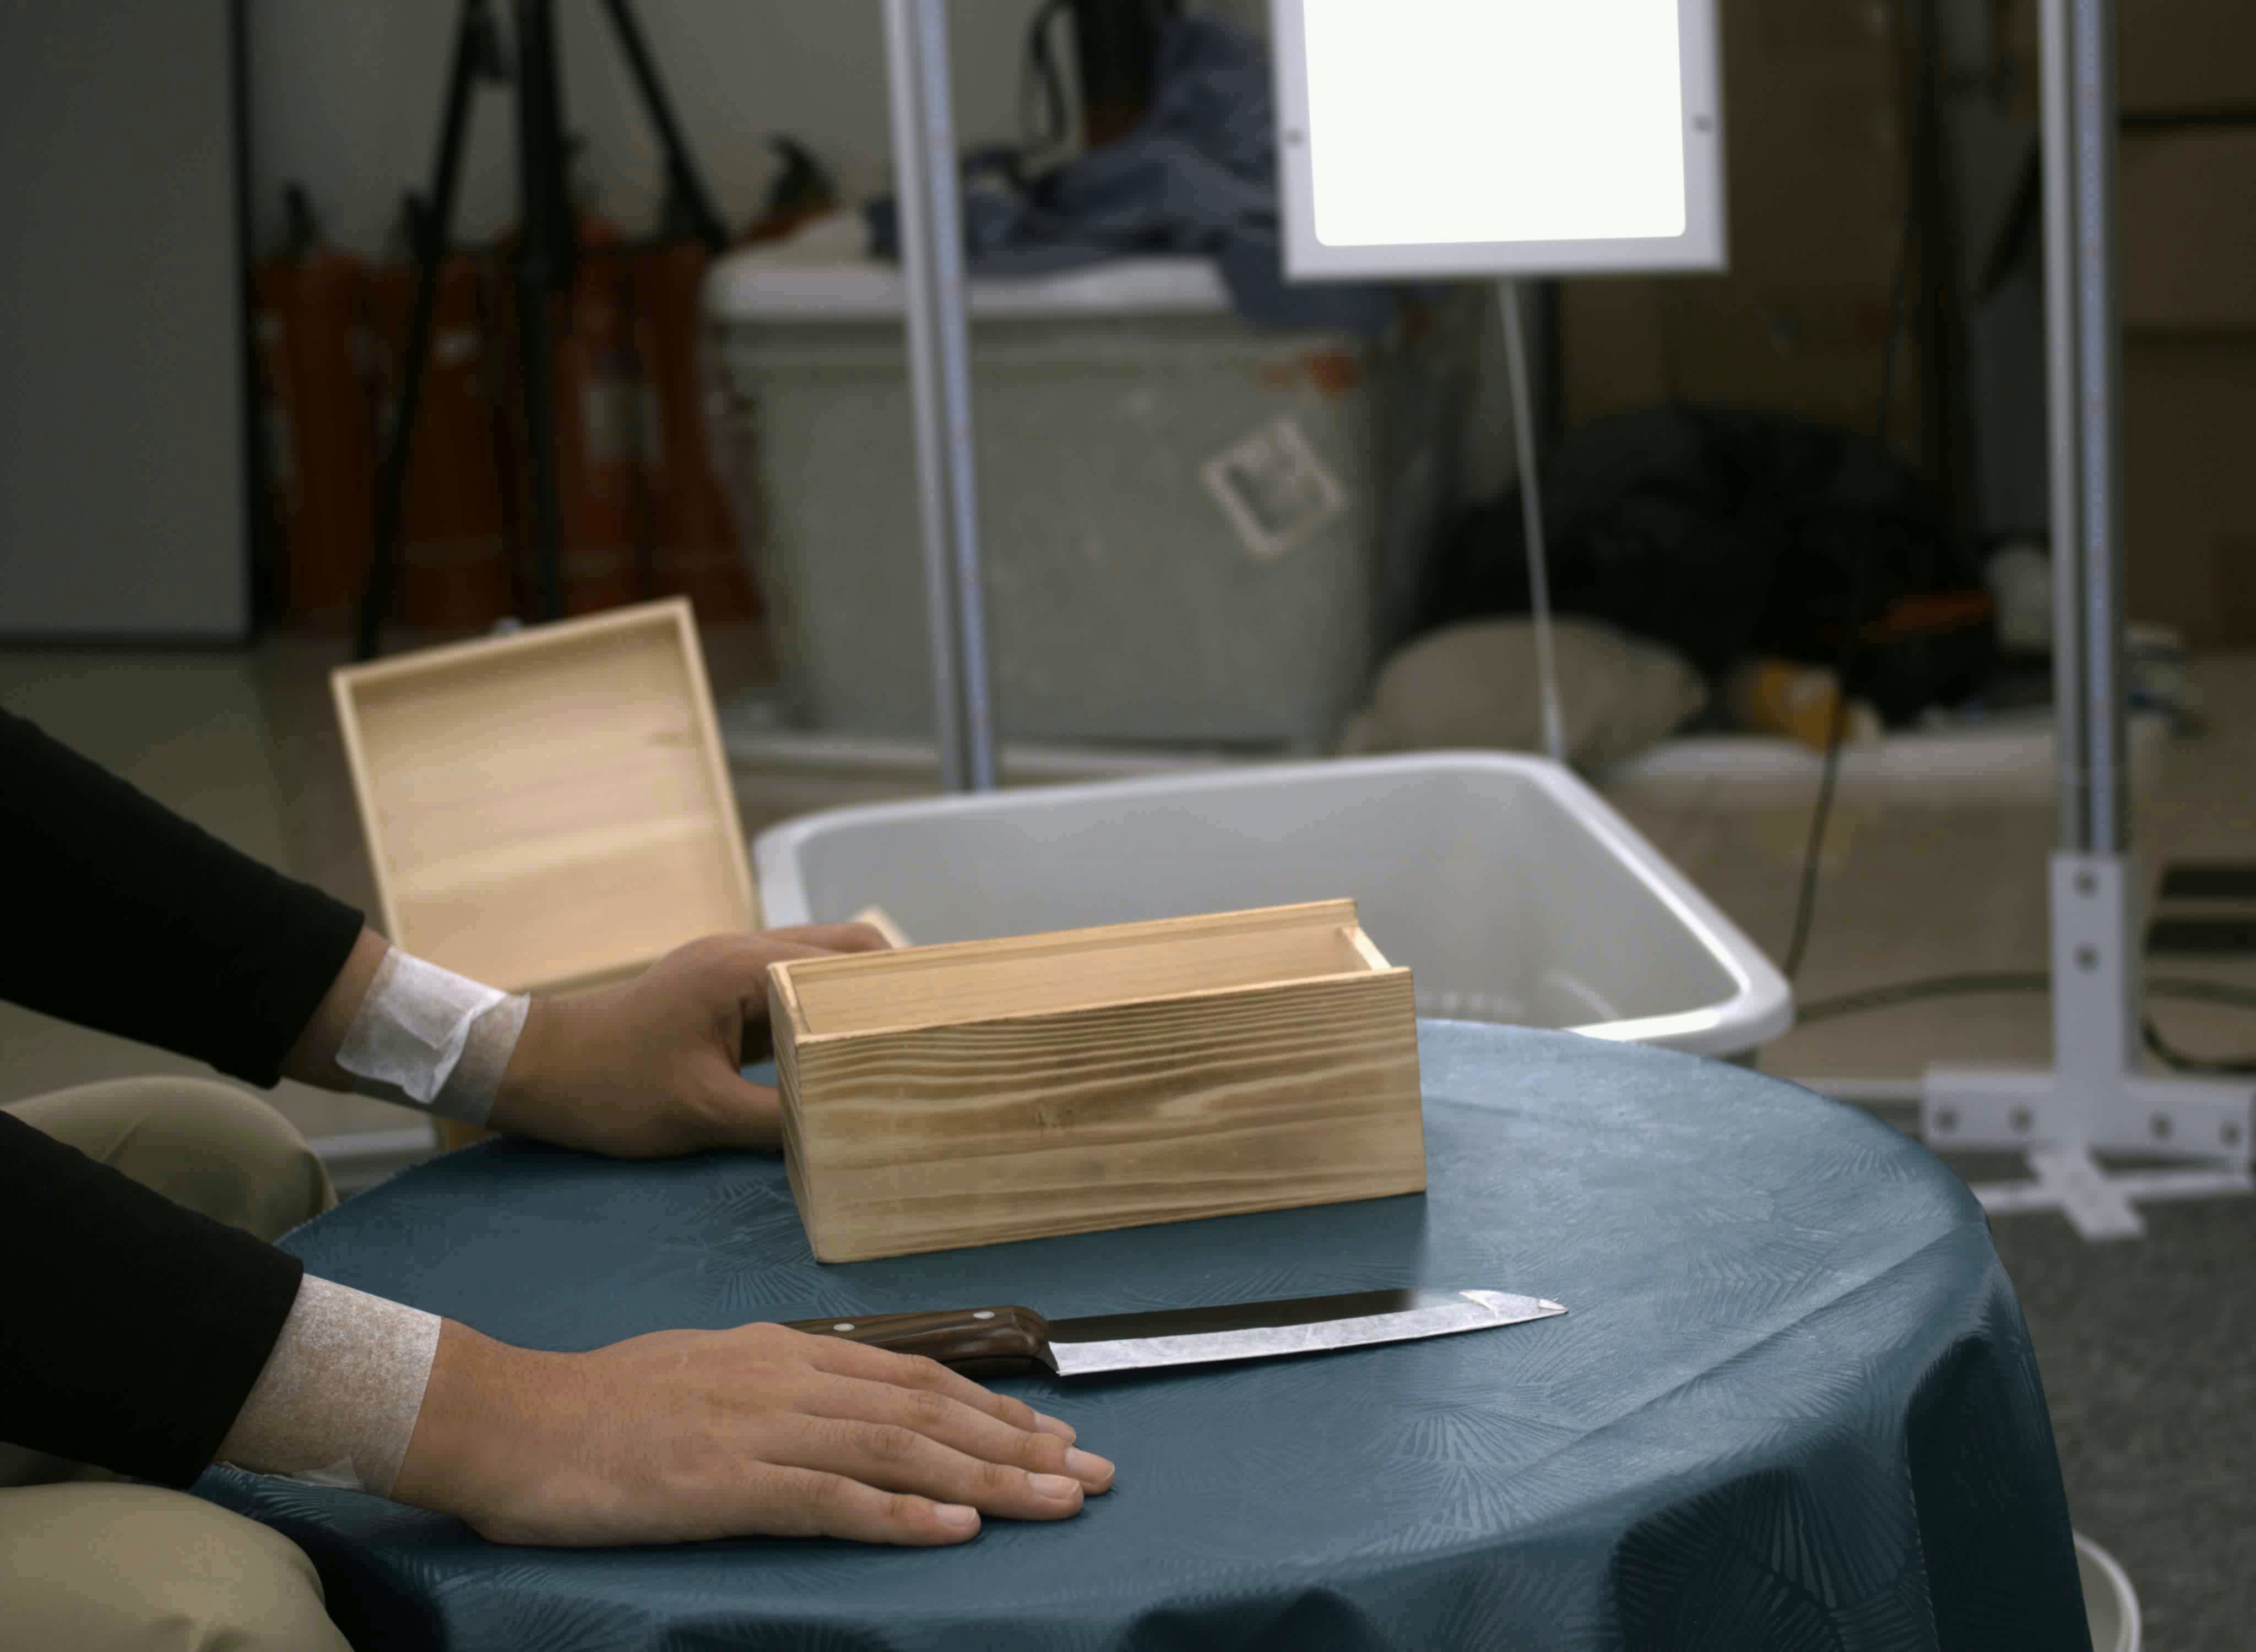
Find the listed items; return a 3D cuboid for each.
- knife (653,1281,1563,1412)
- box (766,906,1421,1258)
[{"bbox_3d":[-0.004,0.161,1.727,0.287,0.020,0.050,-4,18,-6],"label":"knife"},{"bbox_3d":[-0.013,0.087,1.899,0.210,0.080,0.108,-6,13,-6],"label":"box"}]
